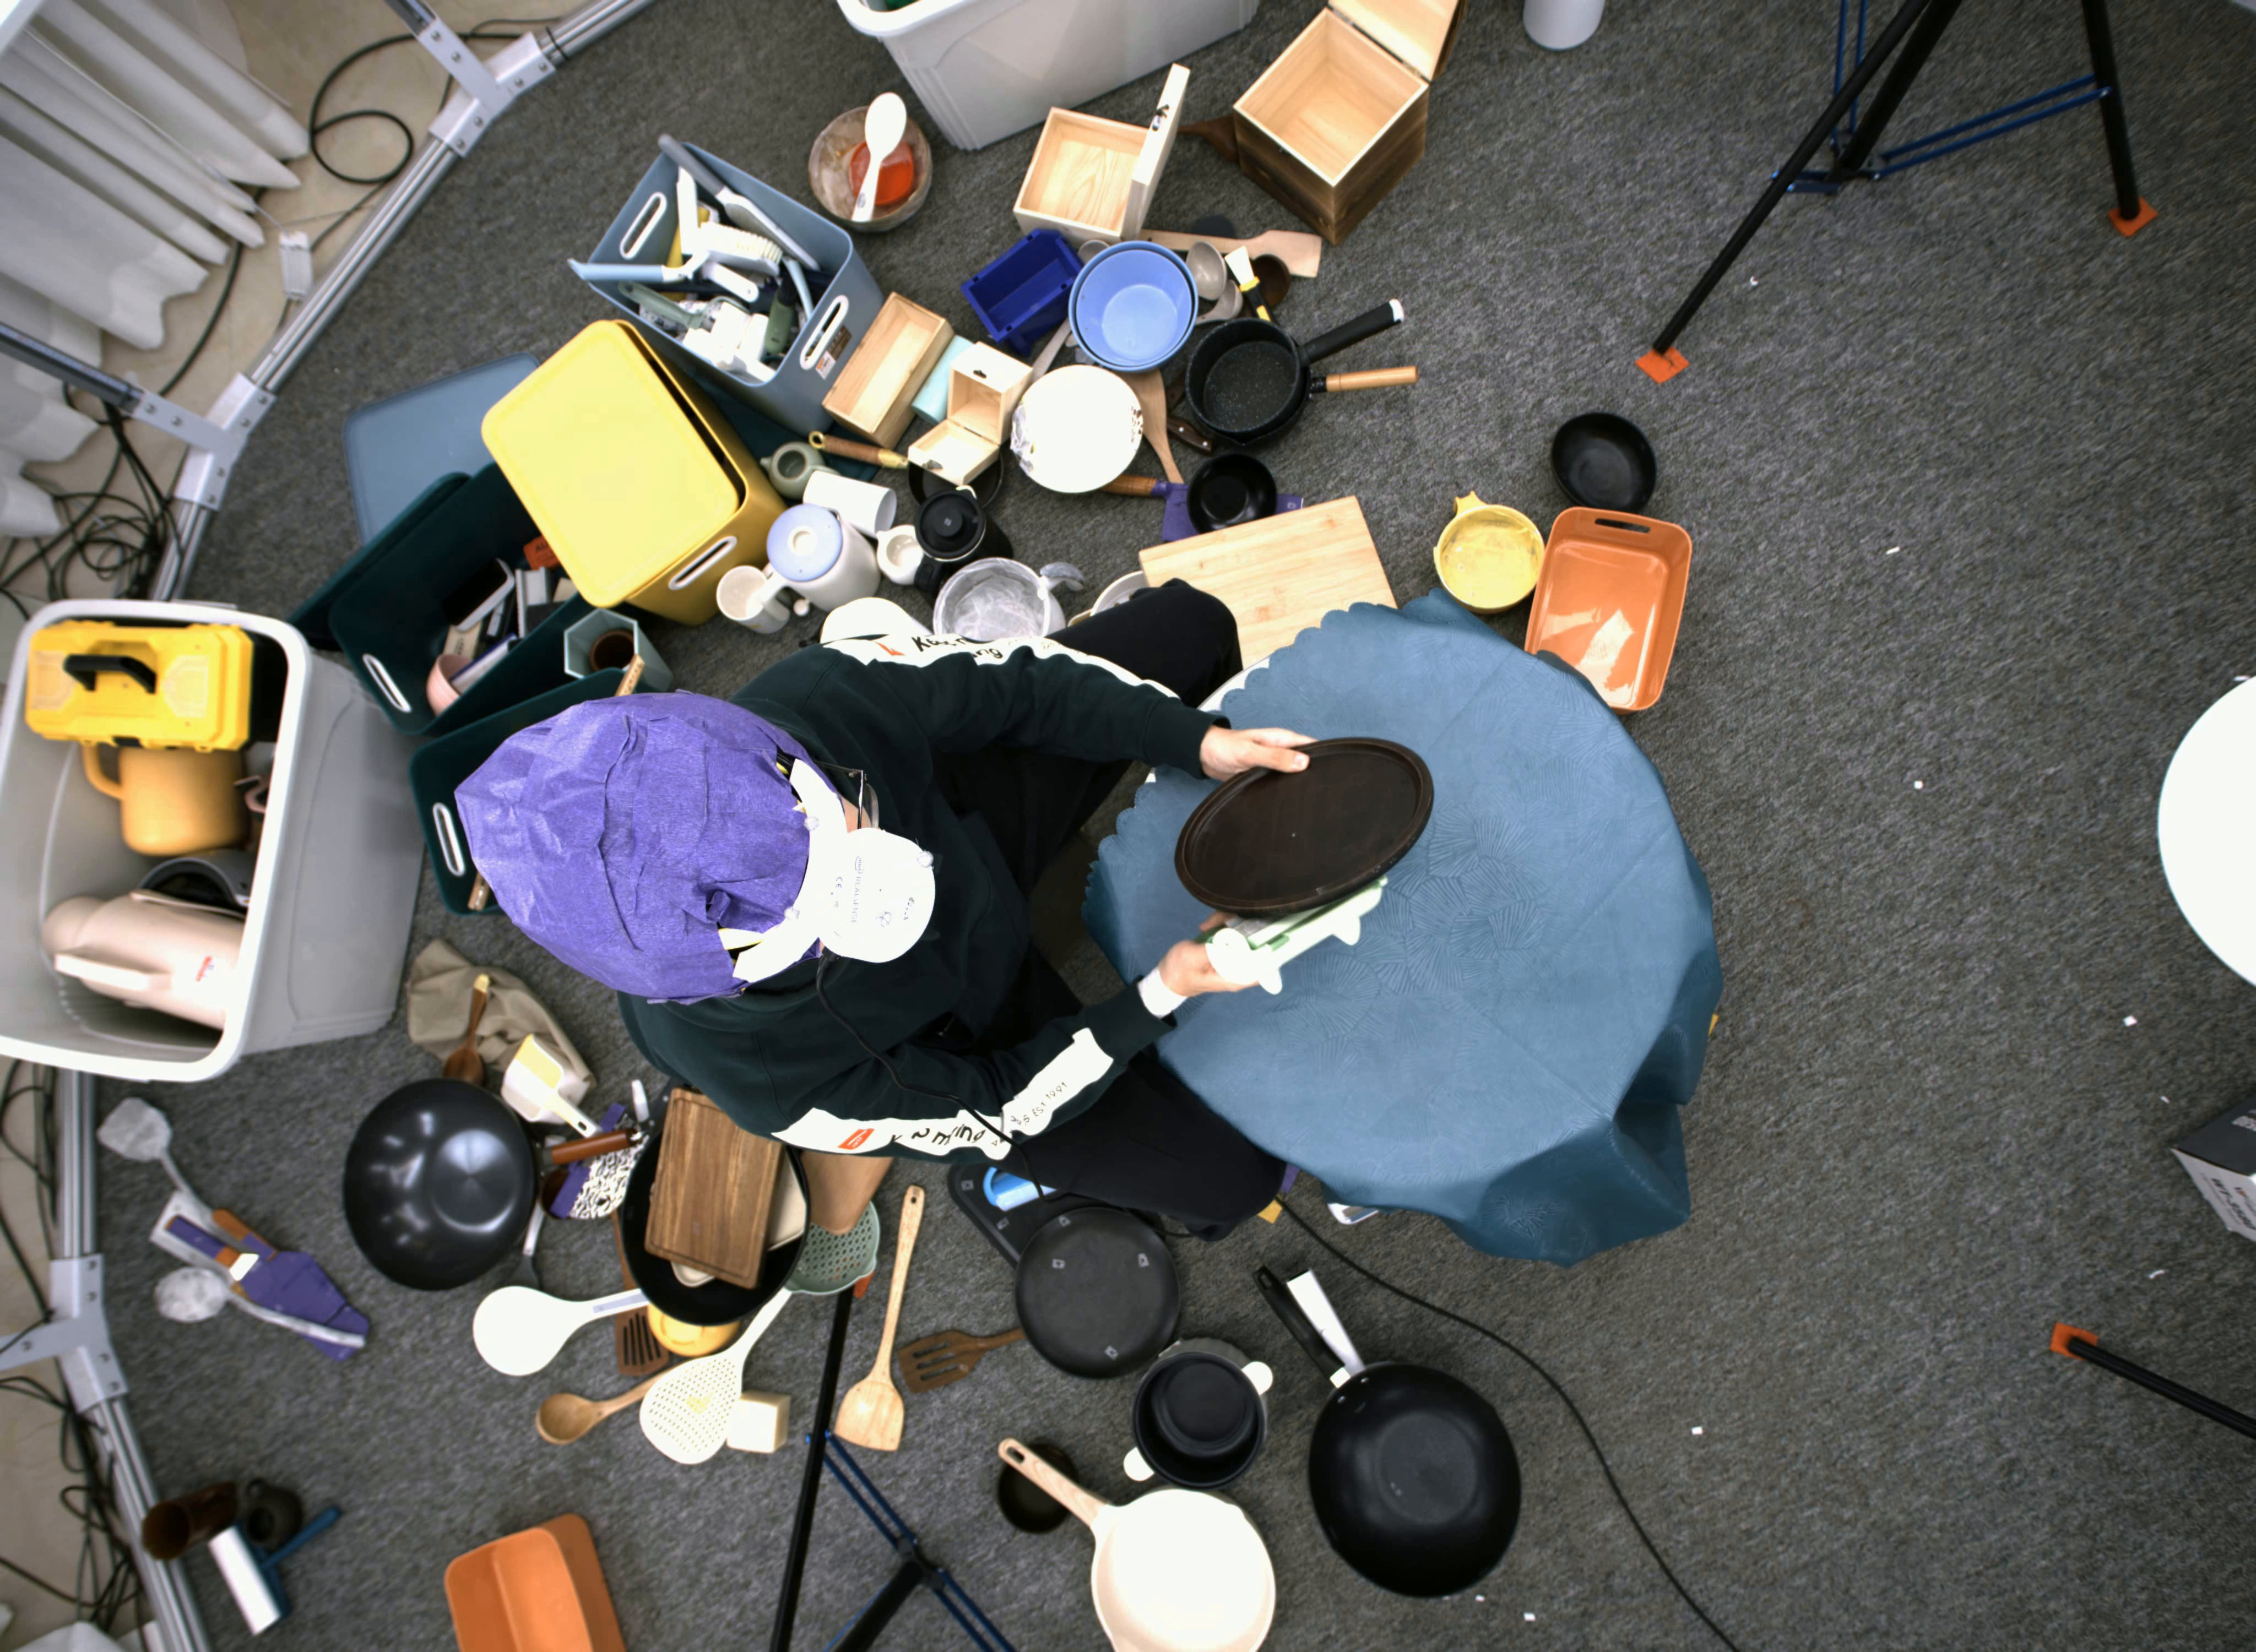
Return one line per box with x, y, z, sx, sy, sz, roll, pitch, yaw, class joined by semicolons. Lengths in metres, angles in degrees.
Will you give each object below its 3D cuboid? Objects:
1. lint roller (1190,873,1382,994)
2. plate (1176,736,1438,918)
0.128;0.113;1.309;0.082;0.195;0.187;58;140;7;lint roller
0.165;-0.002;1.284;0.256;0.249;0.029;-24;123;7;plate
